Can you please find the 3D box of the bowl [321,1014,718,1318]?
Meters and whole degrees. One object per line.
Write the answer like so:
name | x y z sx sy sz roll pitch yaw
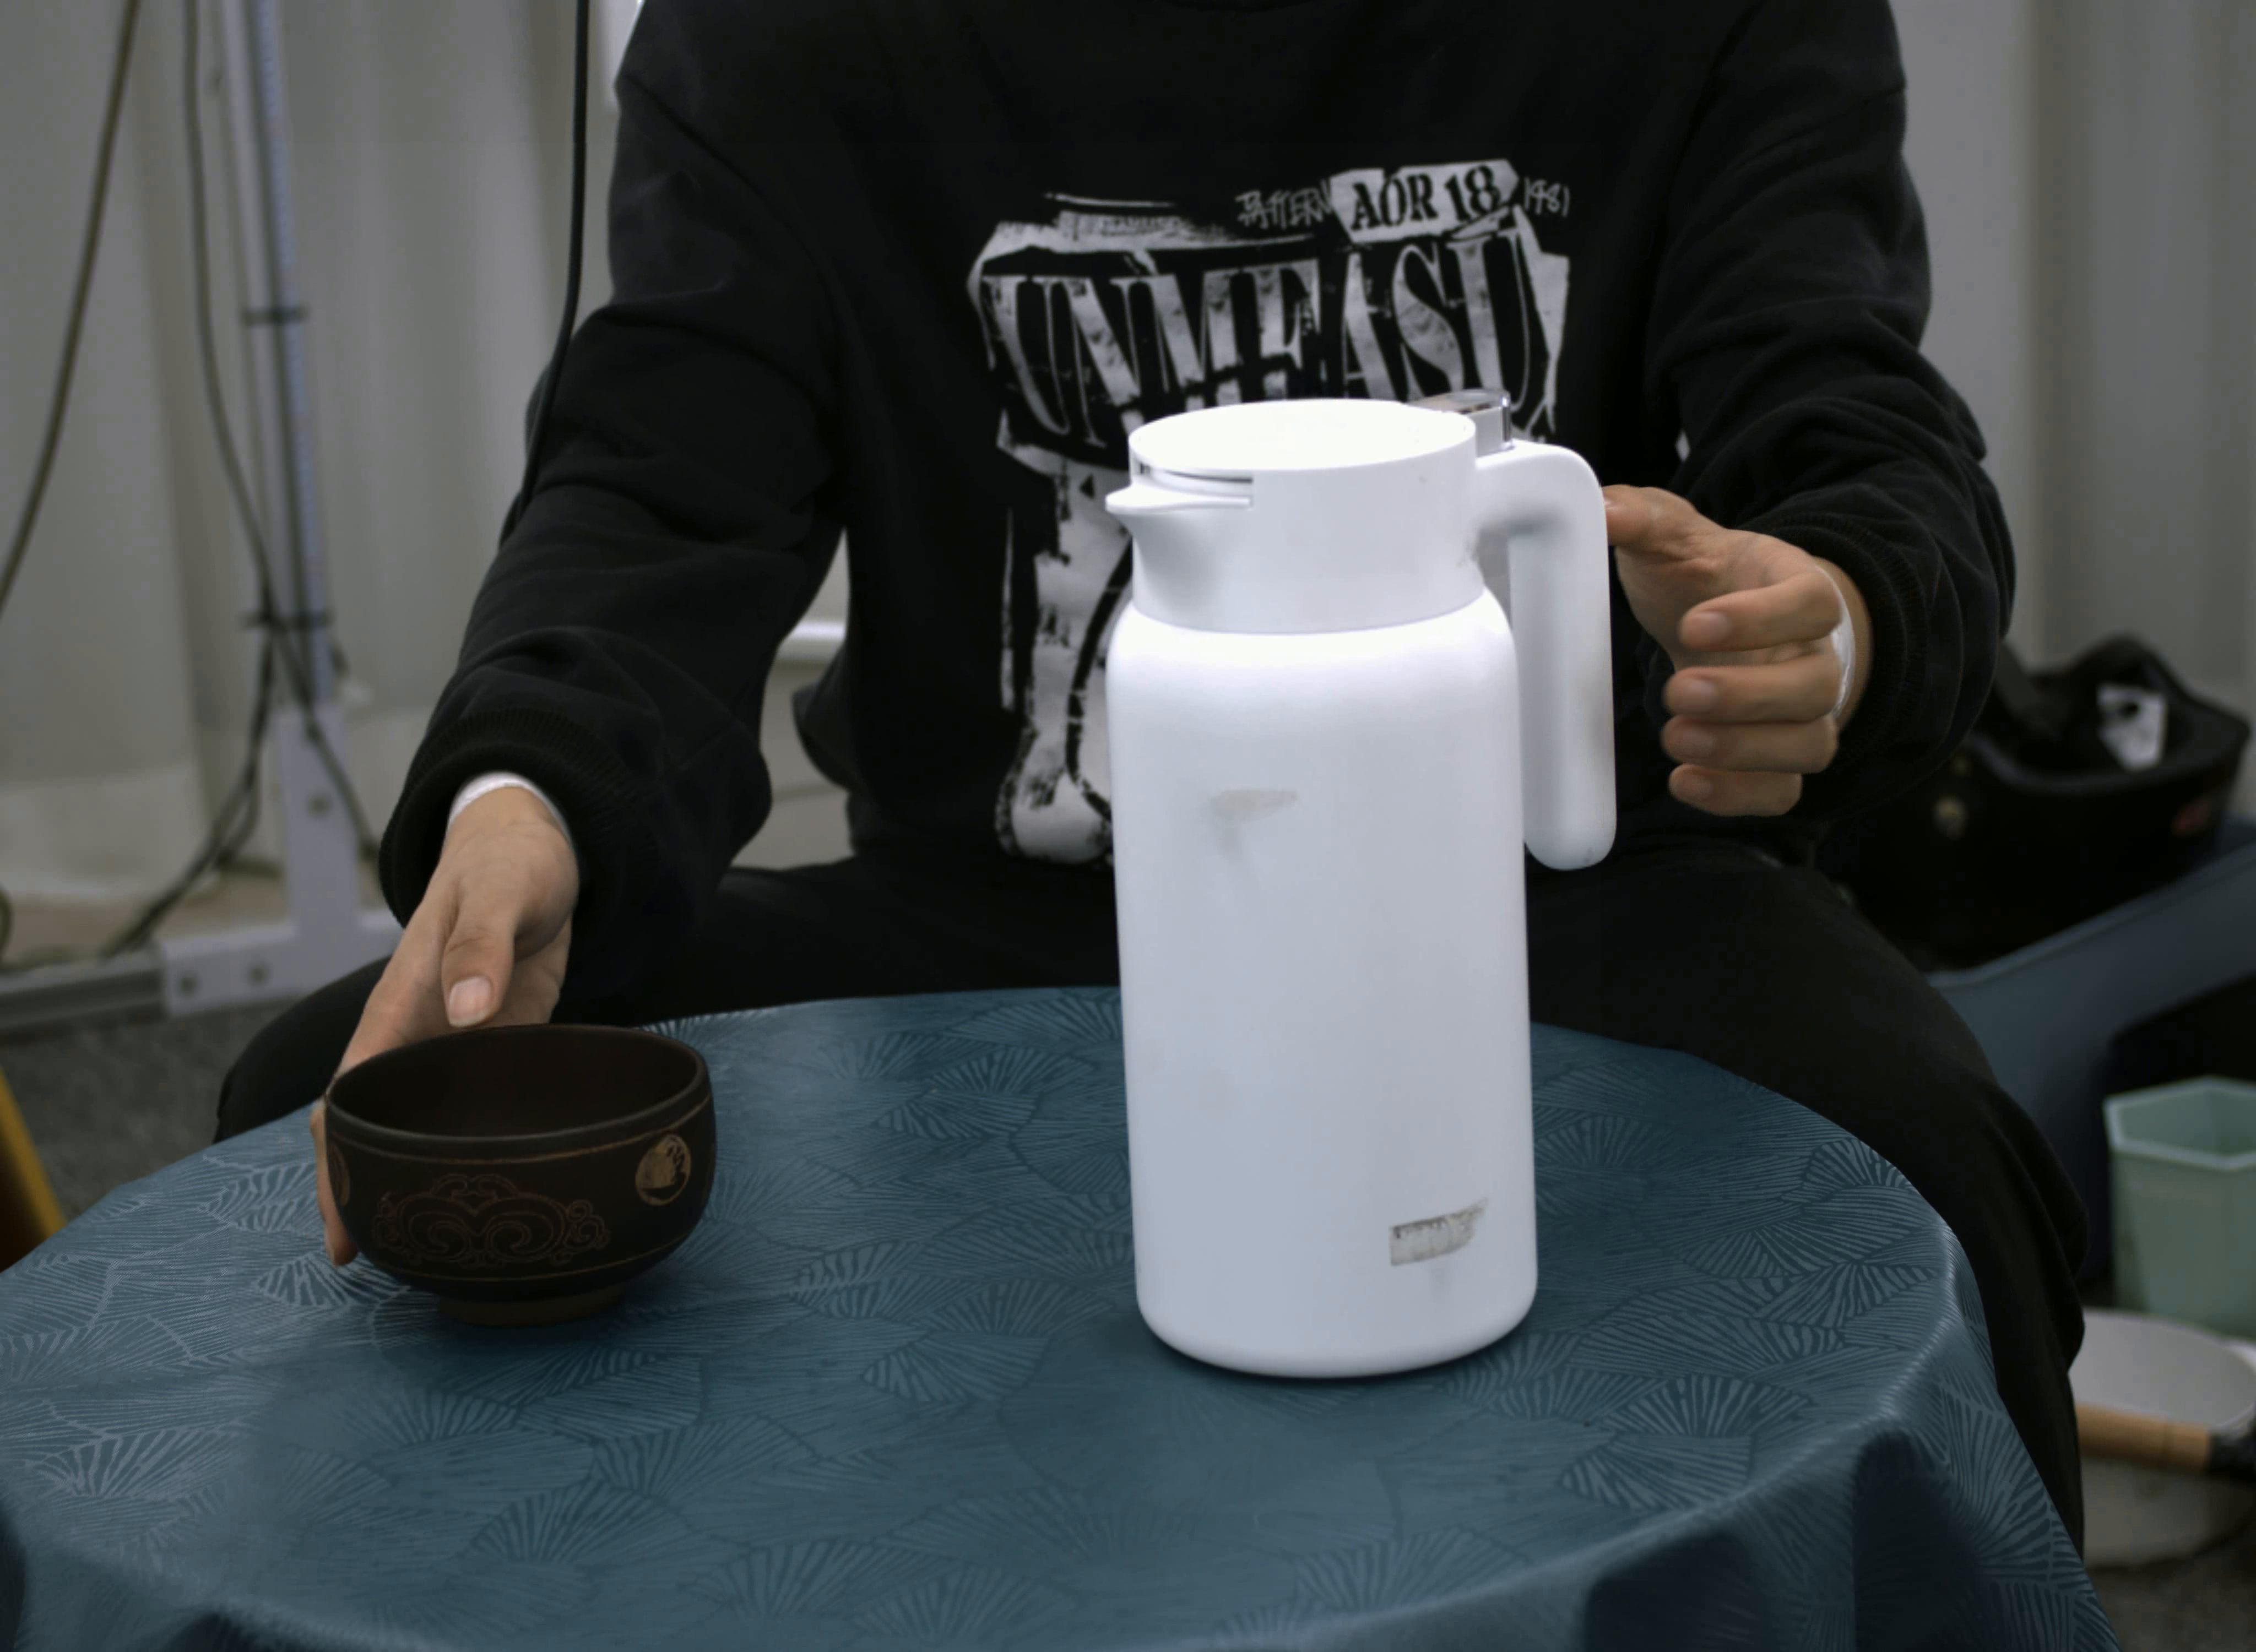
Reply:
bowl | -0.181 0.106 1.638 0.117 0.069 0.119 -3 14 0

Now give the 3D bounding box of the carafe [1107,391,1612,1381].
carafe | 0.068 0.012 1.572 0.172 0.268 0.124 -14 16 -38
